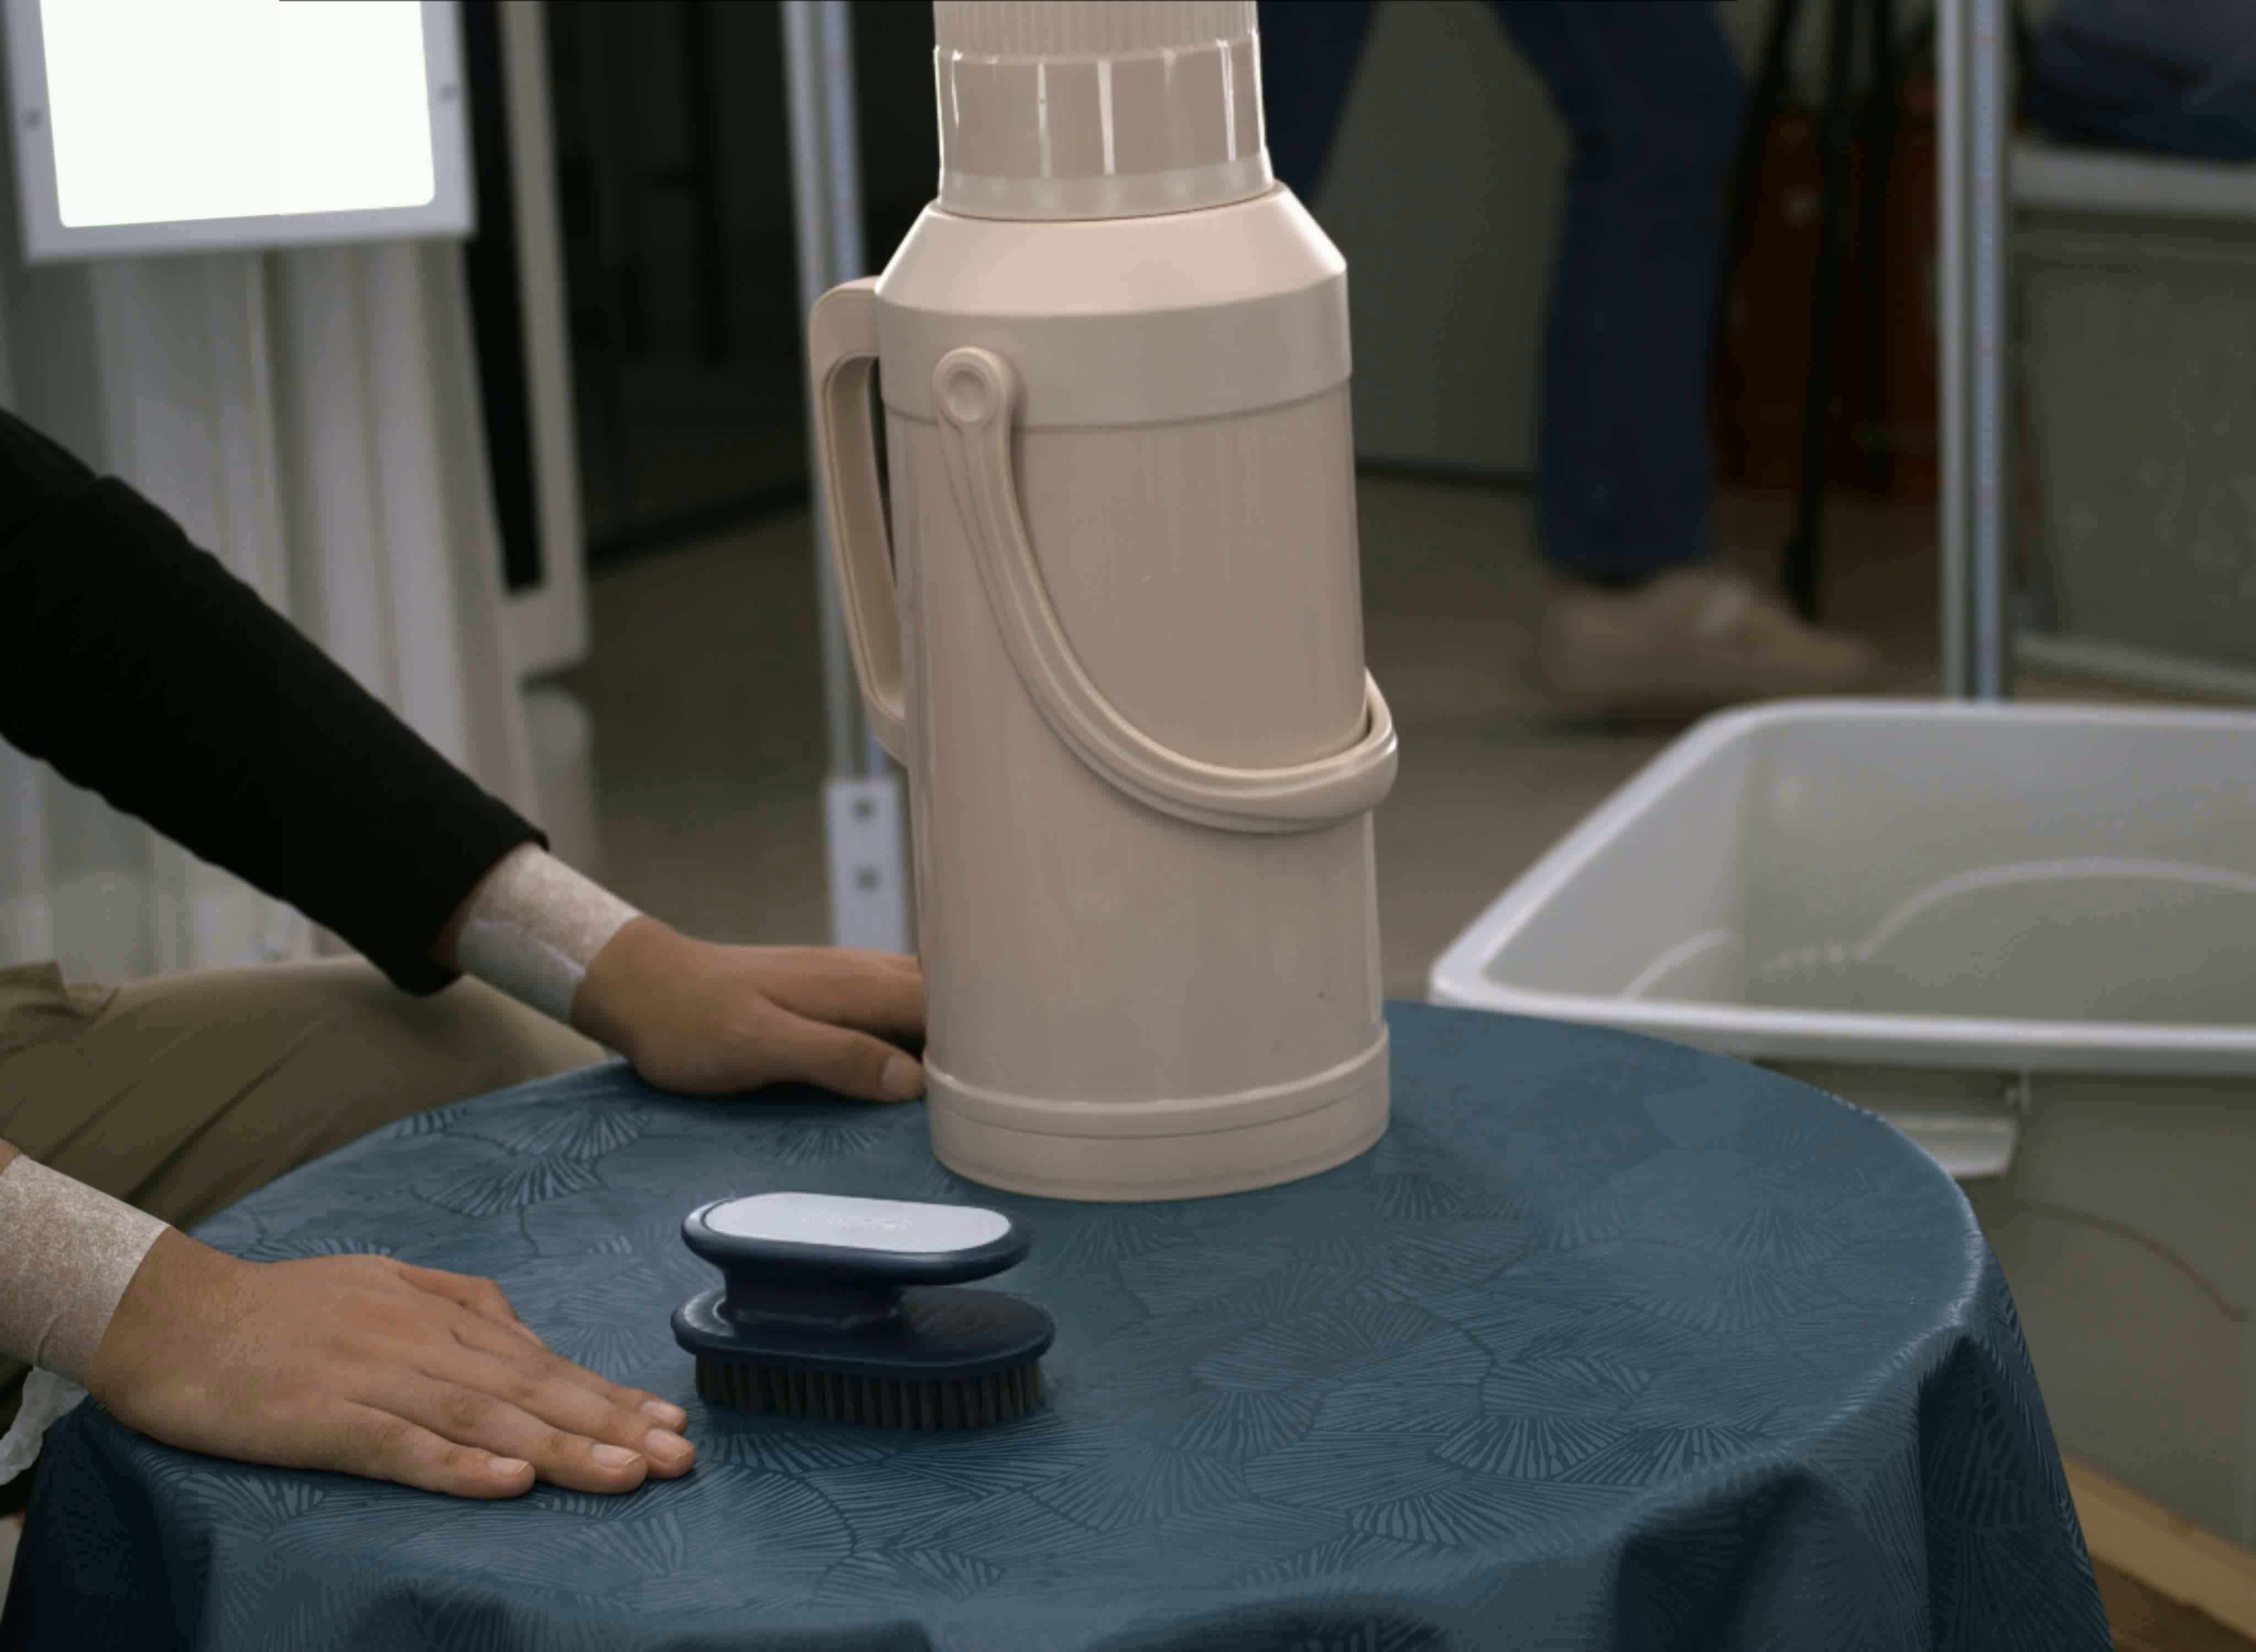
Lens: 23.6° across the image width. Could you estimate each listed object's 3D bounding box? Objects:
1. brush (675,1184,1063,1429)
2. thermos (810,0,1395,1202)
[{"bbox_3d":[-0.076,0.143,1.590,0.122,0.062,0.067,4,15,26],"label":"brush"},{"bbox_3d":[-0.012,-0.091,1.798,0.208,0.411,0.172,5,17,33],"label":"thermos"}]
